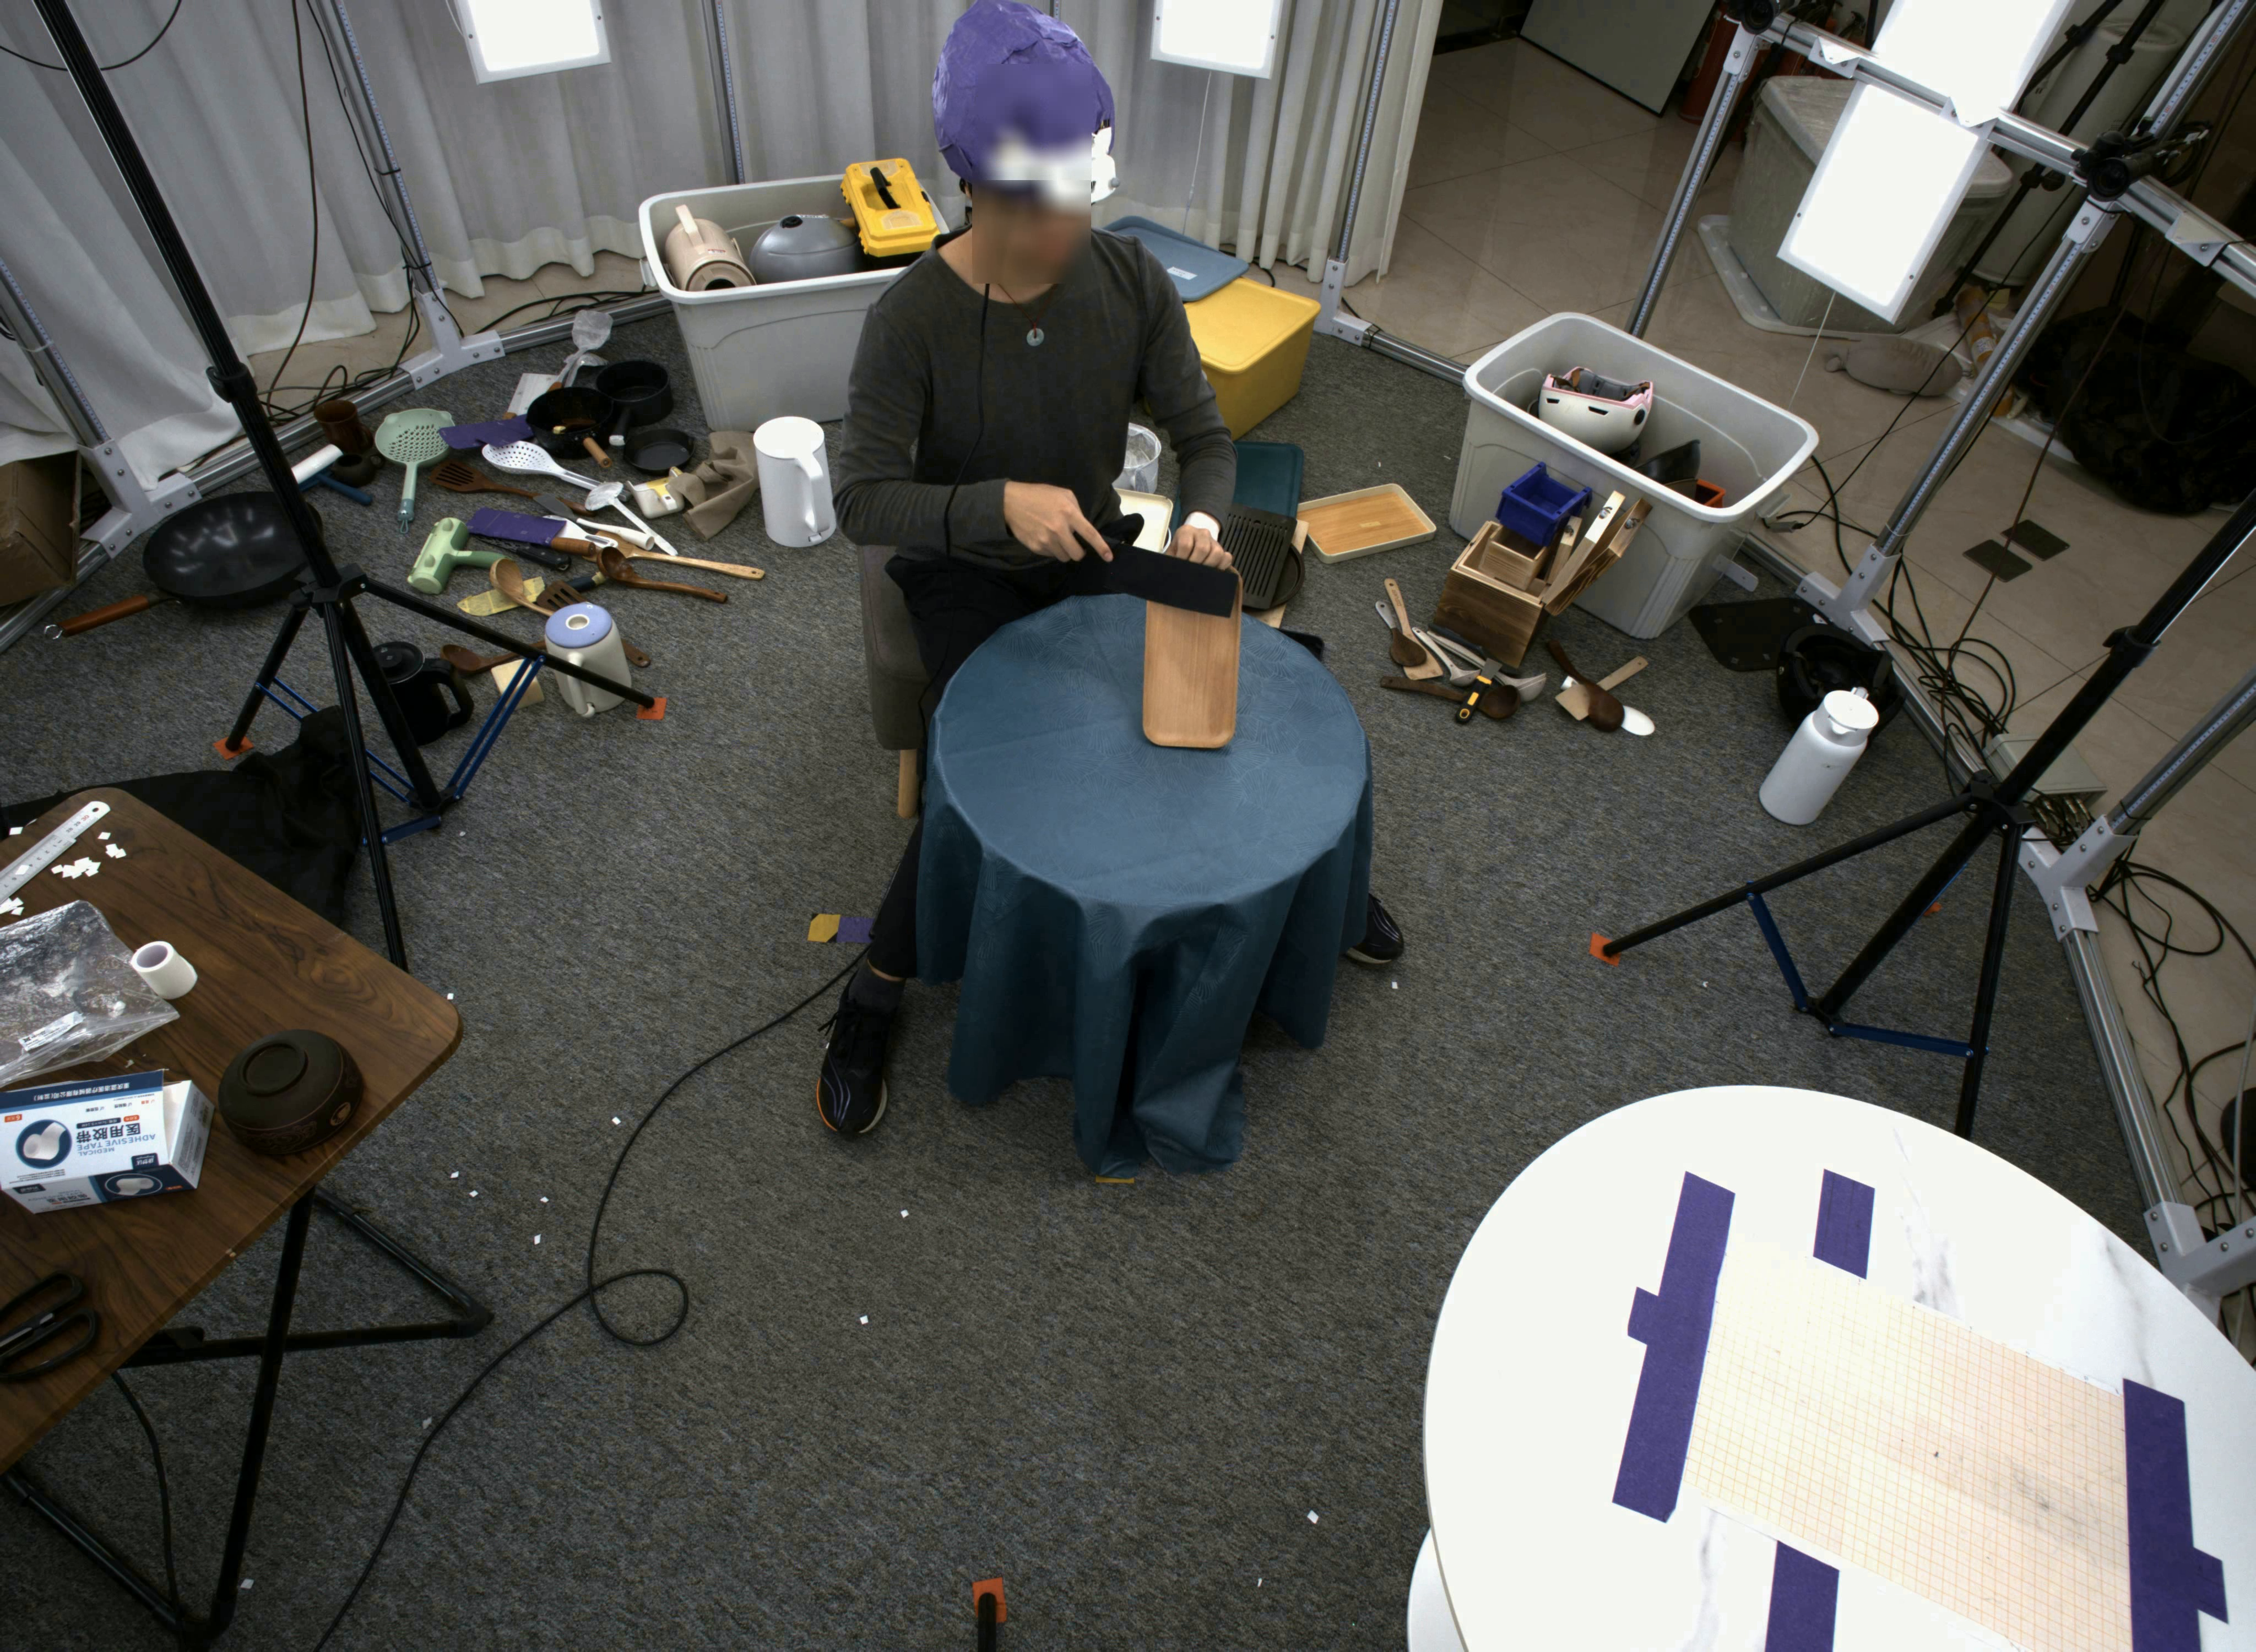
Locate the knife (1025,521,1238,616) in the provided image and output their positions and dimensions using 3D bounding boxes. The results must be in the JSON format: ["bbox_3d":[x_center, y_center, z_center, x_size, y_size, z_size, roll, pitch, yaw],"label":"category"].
[{"bbox_3d":[0.002,-0.346,1.709,0.304,0.079,0.021,21,27,14],"label":"knife"}]

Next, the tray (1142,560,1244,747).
[{"bbox_3d":[0.087,-0.232,1.737,0.130,0.248,0.023,3,13,1],"label":"tray"}]
